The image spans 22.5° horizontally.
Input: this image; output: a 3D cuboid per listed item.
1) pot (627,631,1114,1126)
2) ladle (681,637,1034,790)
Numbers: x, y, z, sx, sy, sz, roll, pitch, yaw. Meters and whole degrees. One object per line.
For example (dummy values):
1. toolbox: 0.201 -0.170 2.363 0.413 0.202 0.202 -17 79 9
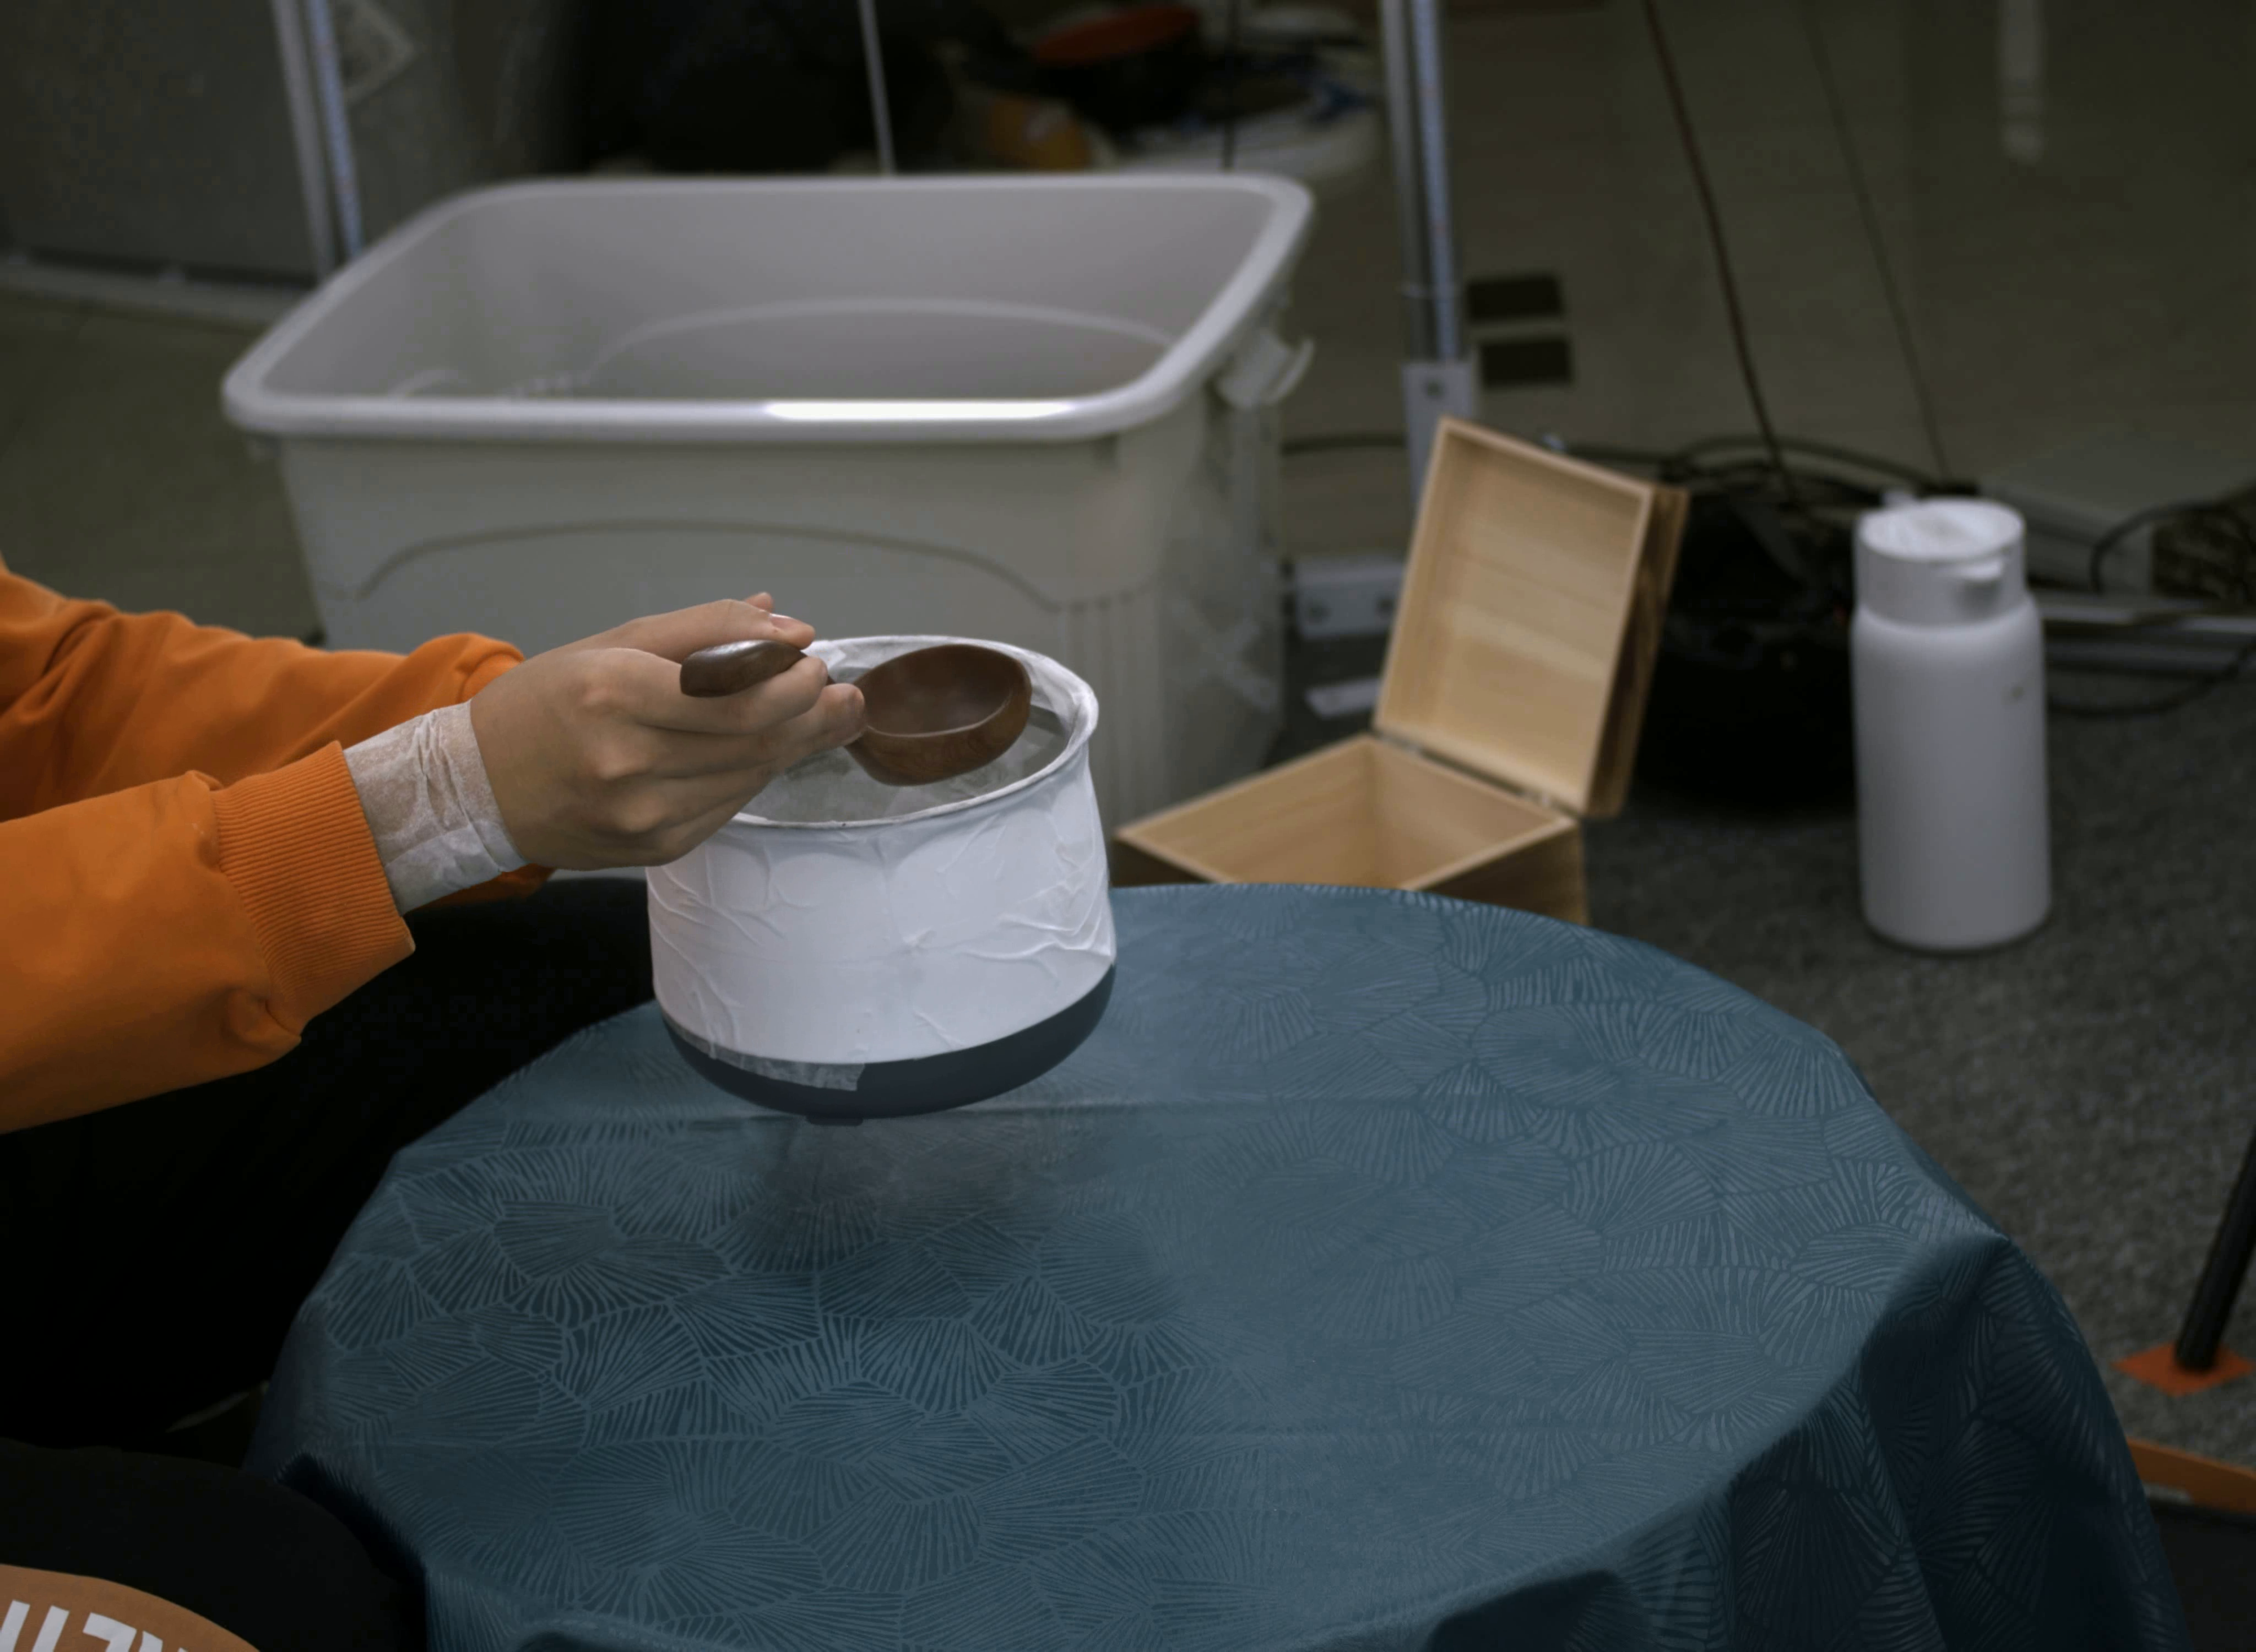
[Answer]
1. pot: -0.109 0.011 2.153 0.178 0.139 0.231 -17 28 -26
2. ladle: -0.102 -0.056 2.009 0.076 0.065 0.261 -7 -11 18
